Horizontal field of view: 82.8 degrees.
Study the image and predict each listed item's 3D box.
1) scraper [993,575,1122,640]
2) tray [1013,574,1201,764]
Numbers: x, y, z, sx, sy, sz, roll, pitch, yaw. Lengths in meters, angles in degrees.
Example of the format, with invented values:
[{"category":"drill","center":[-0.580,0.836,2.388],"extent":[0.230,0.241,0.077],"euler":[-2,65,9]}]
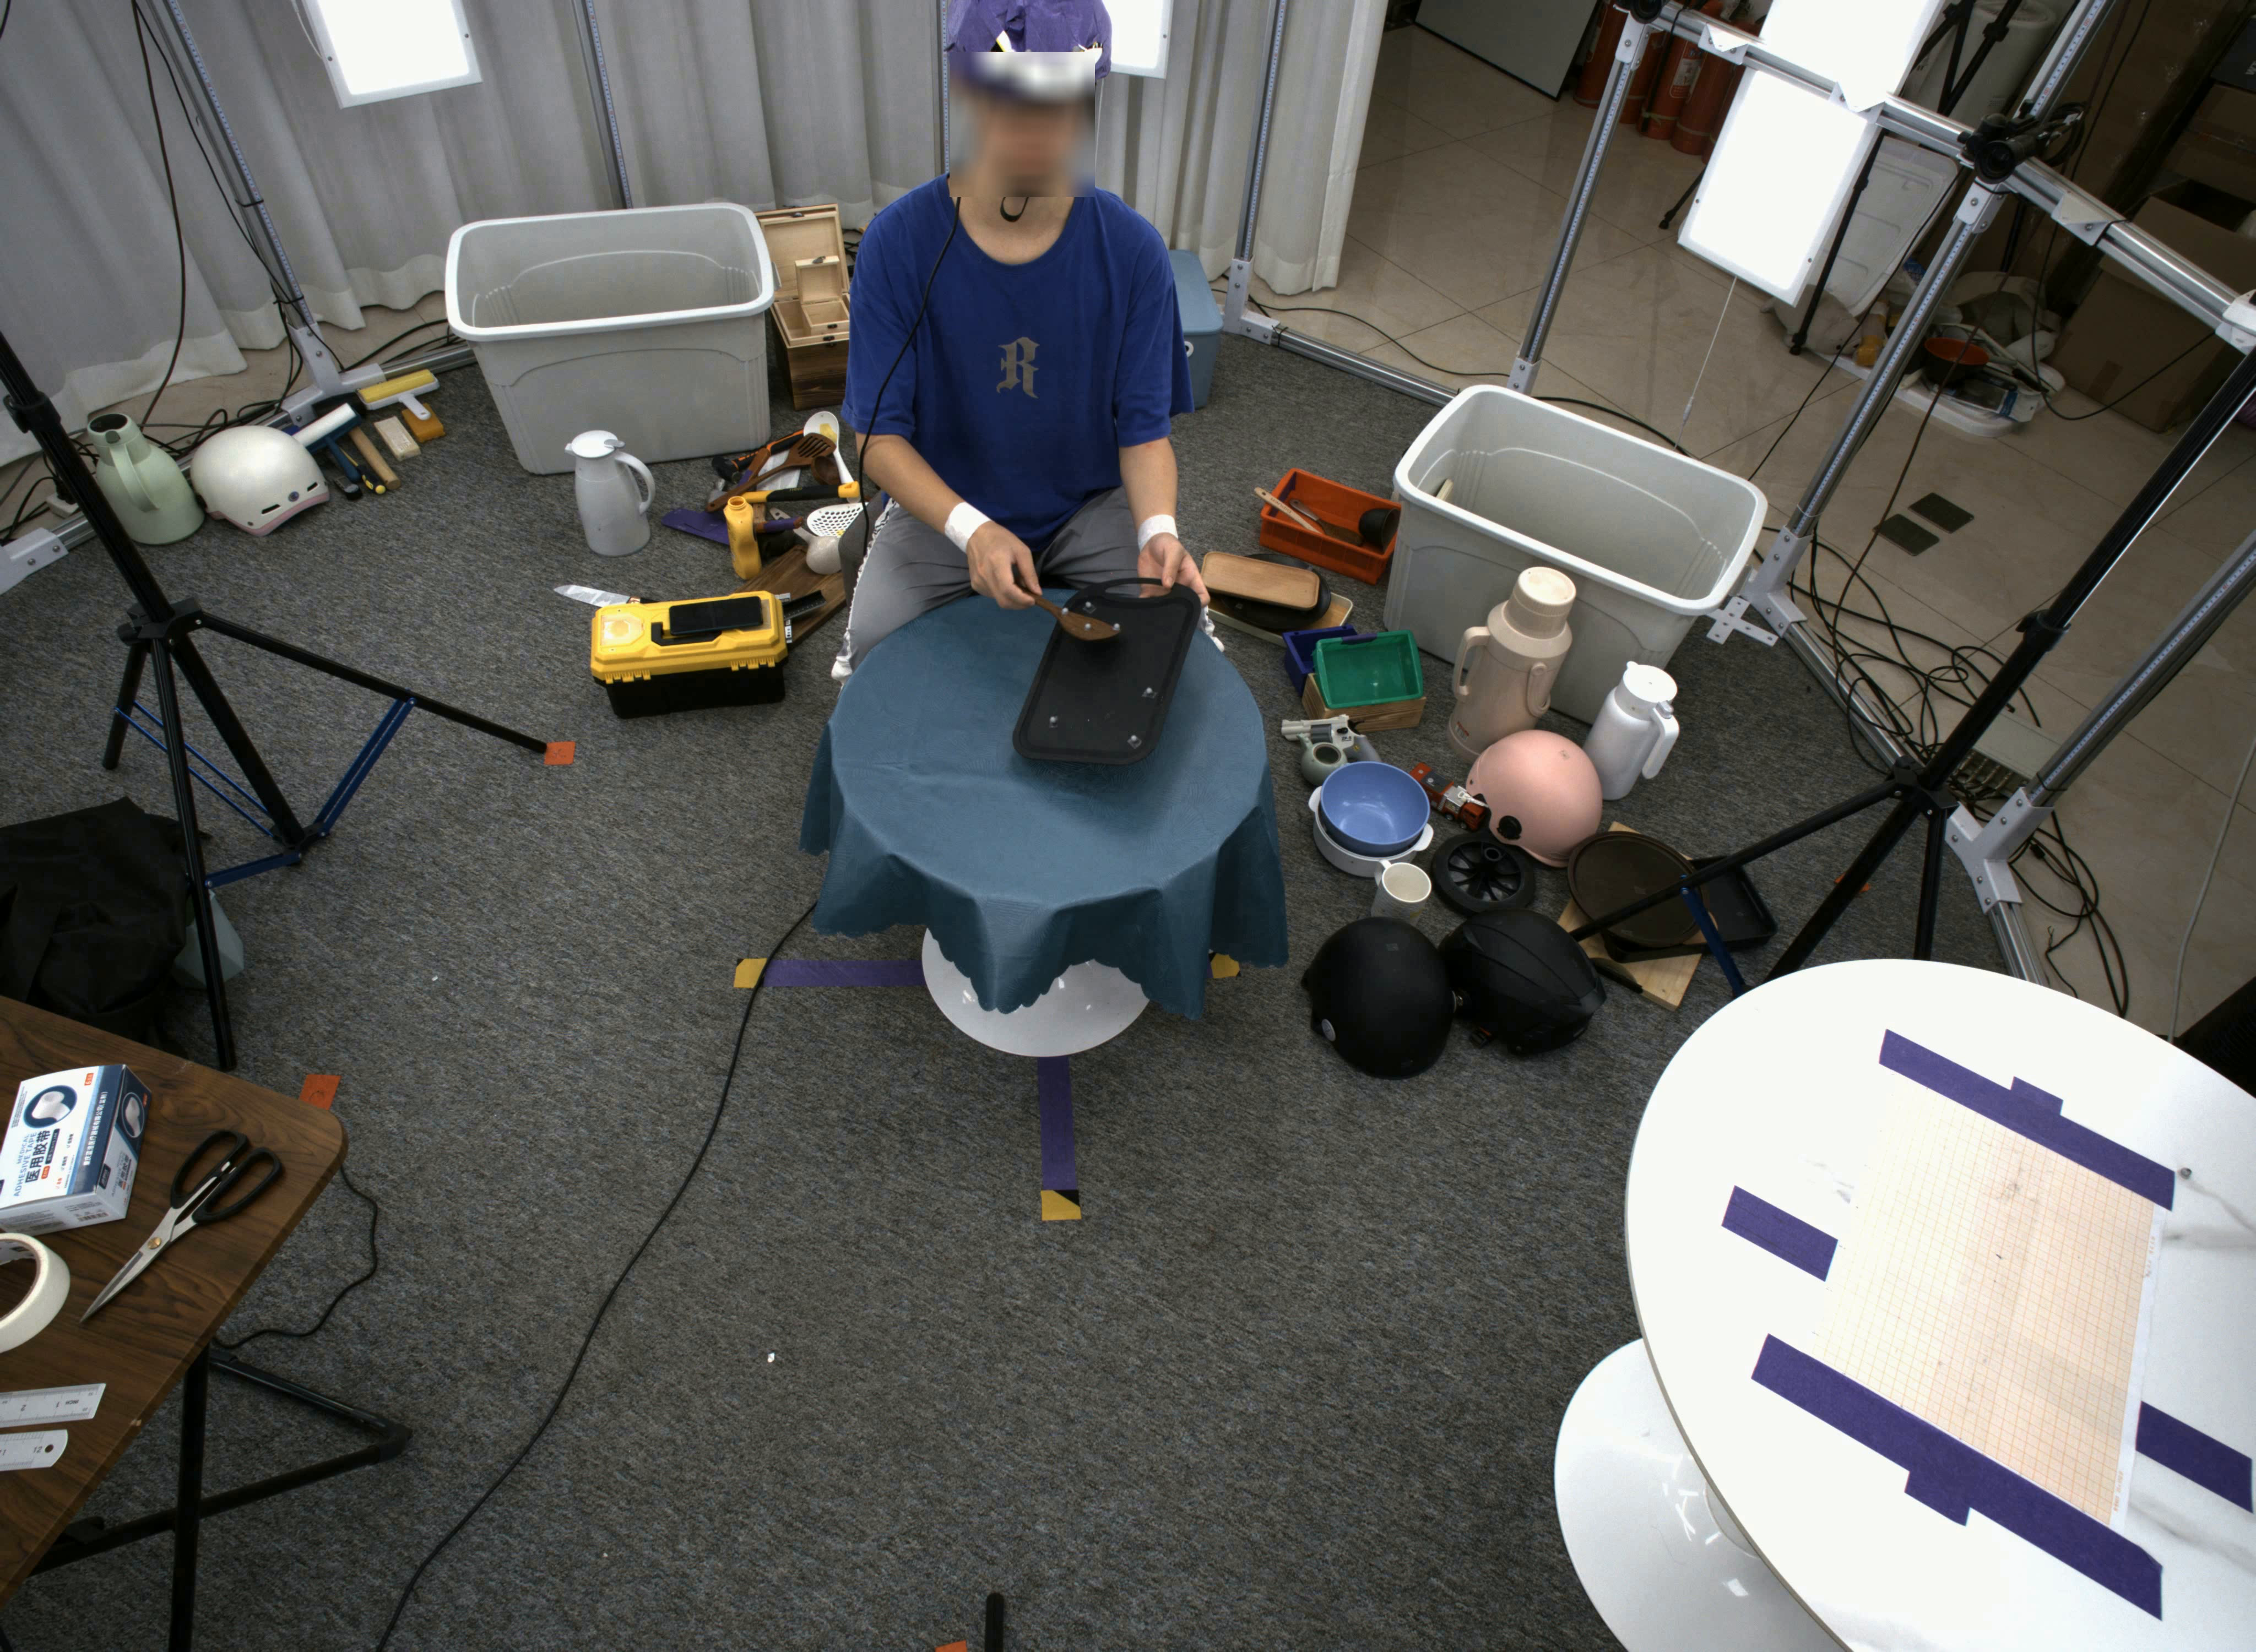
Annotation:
[{"category":"scraper","center":[-0.104,-0.303,1.780],"extent":[0.214,0.010,0.076],"euler":[32,32,26]},{"category":"tray","center":[-0.025,-0.224,1.751],"extent":[0.212,0.009,0.331],"euler":[5,58,24]}]
